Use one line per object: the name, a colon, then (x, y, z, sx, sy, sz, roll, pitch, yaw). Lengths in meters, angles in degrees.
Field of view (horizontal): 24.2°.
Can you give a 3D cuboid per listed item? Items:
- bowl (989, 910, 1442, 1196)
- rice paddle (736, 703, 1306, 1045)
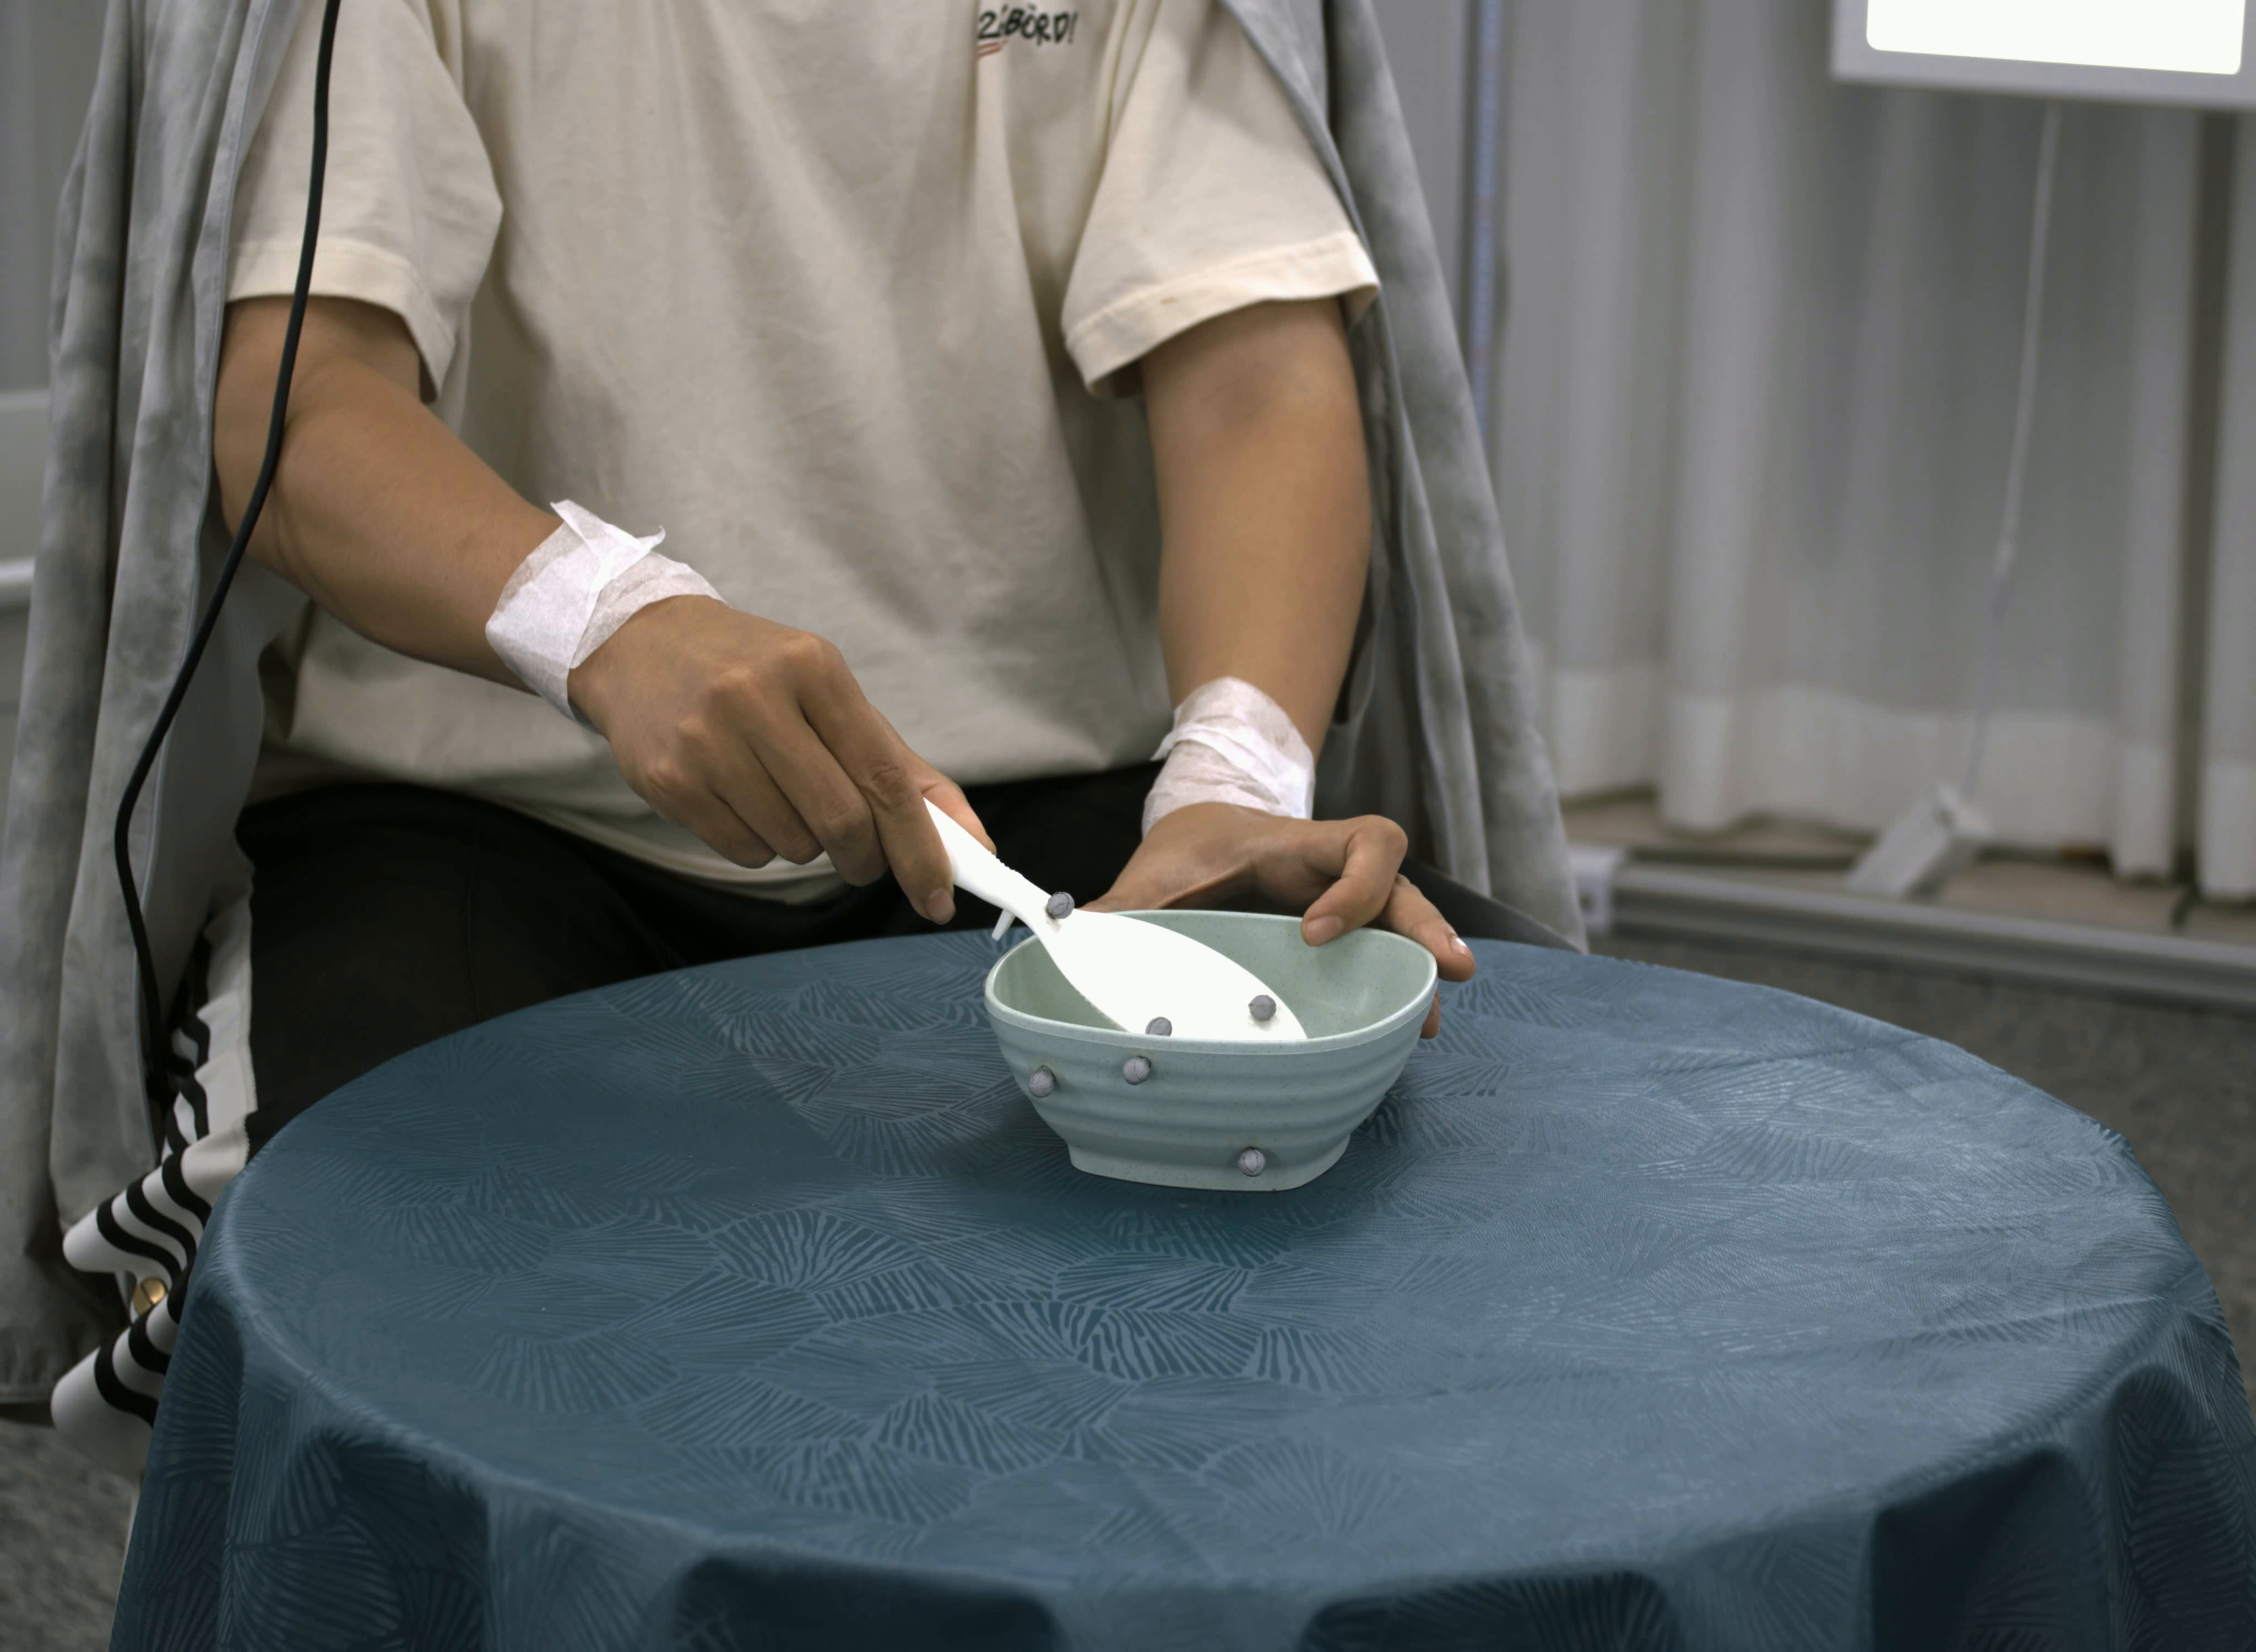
bowl: (0.028, 0.074, 1.661, 0.151, 0.059, 0.150, -1, 17, 1)
rice paddle: (-0.029, 0.025, 1.666, 0.204, 0.029, 0.068, 31, 32, 3)
